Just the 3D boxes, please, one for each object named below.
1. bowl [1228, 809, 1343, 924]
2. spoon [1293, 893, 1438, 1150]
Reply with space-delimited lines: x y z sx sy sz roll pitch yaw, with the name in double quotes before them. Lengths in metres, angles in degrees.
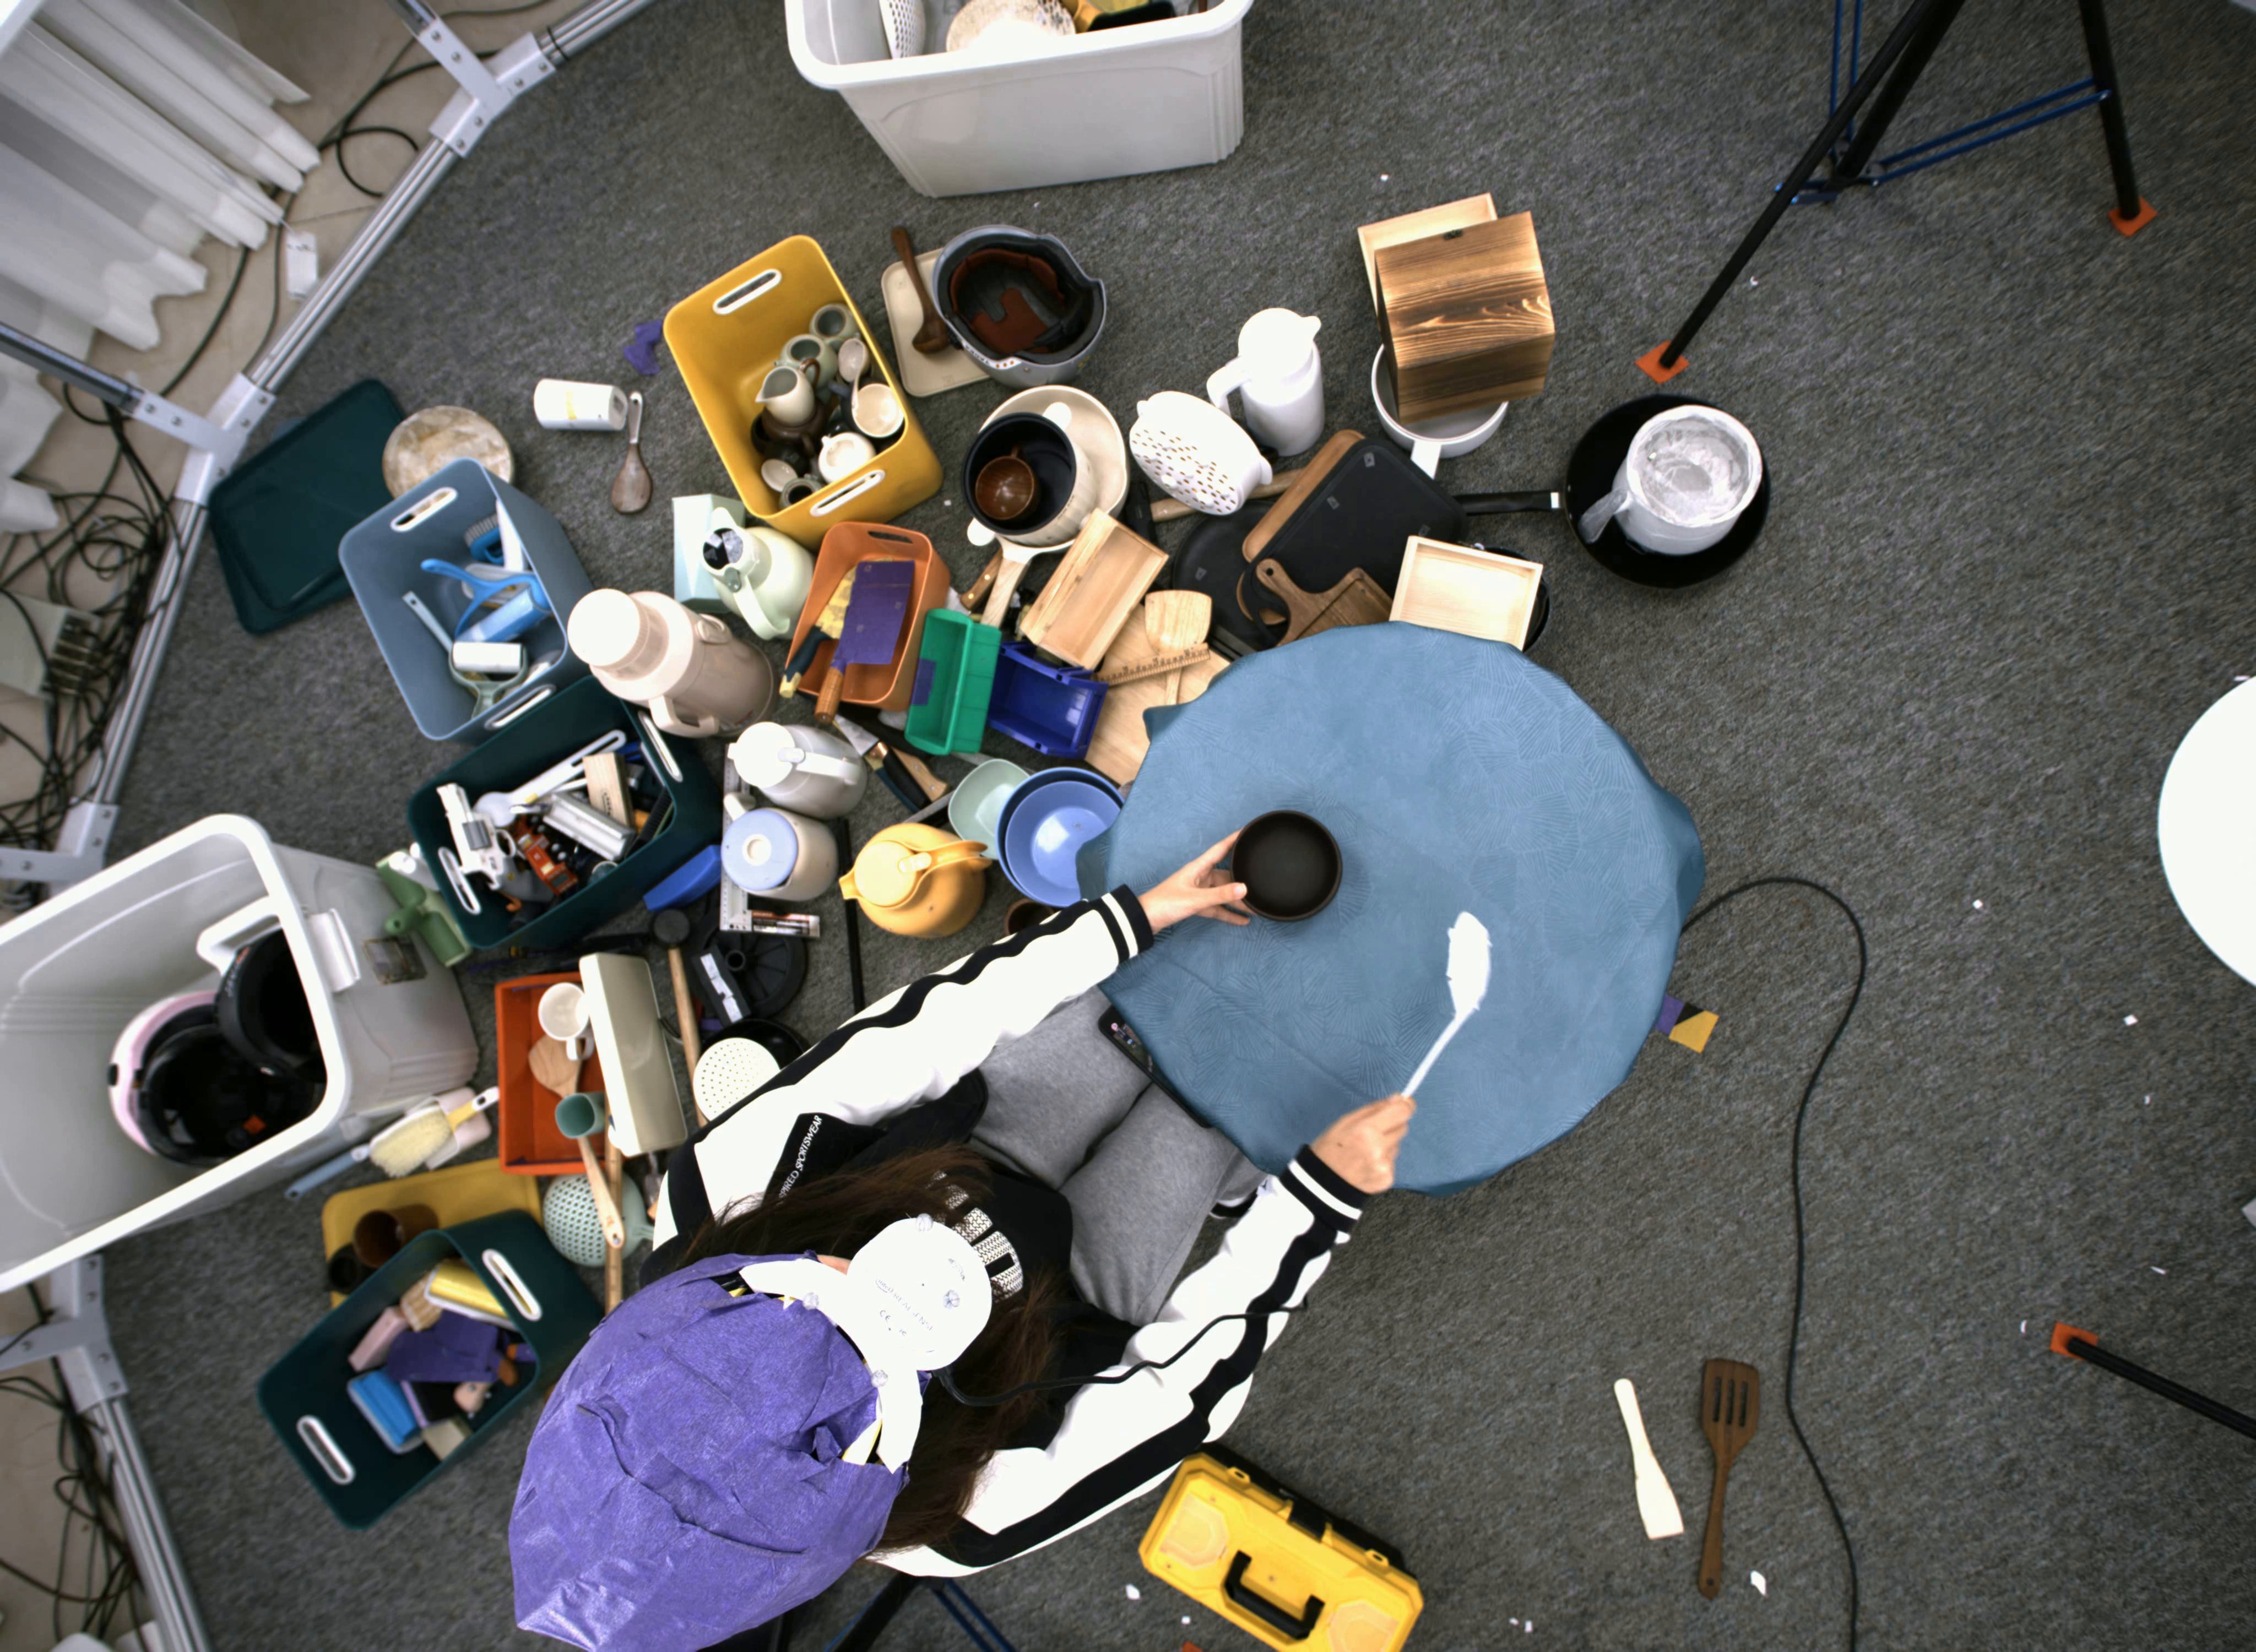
"bowl" 0.166 0.043 1.444 0.118 0.070 0.117 -1 86 11
"spoon" 0.218 0.188 1.322 0.059 0.099 0.281 32 105 -5
